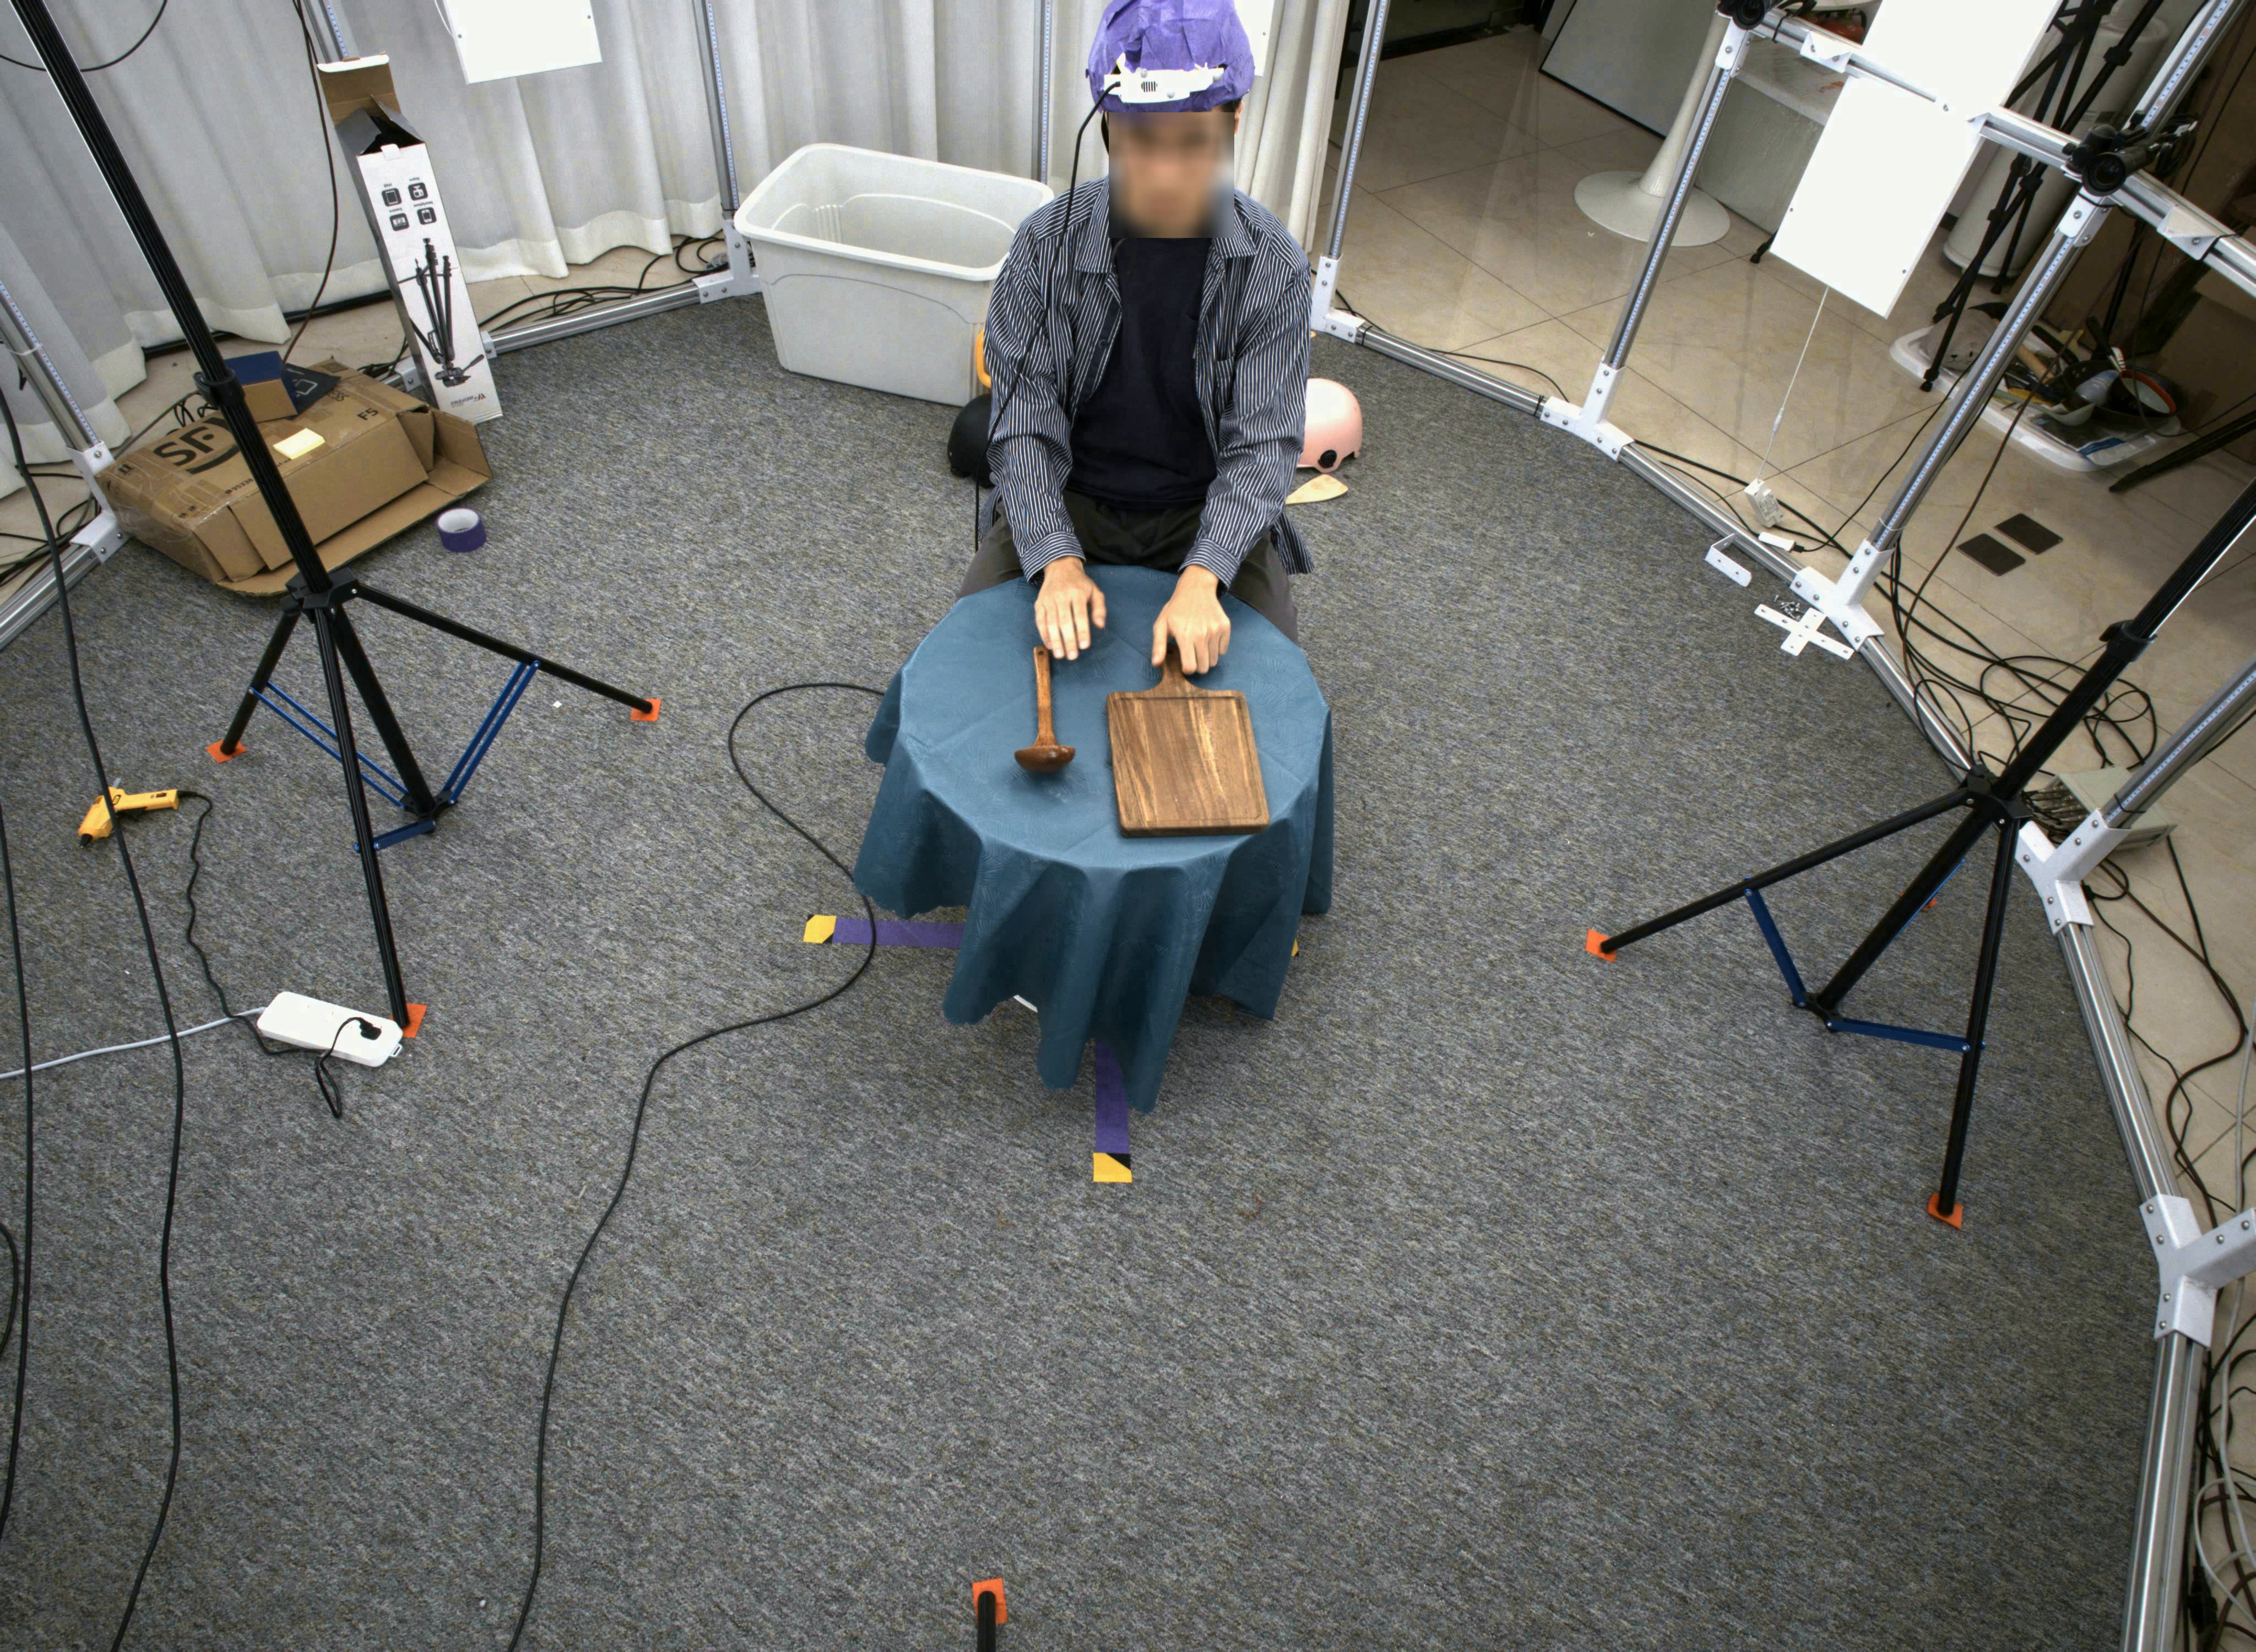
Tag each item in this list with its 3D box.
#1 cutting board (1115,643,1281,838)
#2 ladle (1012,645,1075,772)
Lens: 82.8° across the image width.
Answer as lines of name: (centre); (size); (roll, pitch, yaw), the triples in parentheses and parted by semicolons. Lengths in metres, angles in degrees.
cutting board: (0.086, -0.126, 1.762); (0.201, 0.022, 0.361); (-1, 49, -6)
ladle: (-0.115, -0.176, 1.752); (0.082, 0.075, 0.281); (1, 49, -5)
